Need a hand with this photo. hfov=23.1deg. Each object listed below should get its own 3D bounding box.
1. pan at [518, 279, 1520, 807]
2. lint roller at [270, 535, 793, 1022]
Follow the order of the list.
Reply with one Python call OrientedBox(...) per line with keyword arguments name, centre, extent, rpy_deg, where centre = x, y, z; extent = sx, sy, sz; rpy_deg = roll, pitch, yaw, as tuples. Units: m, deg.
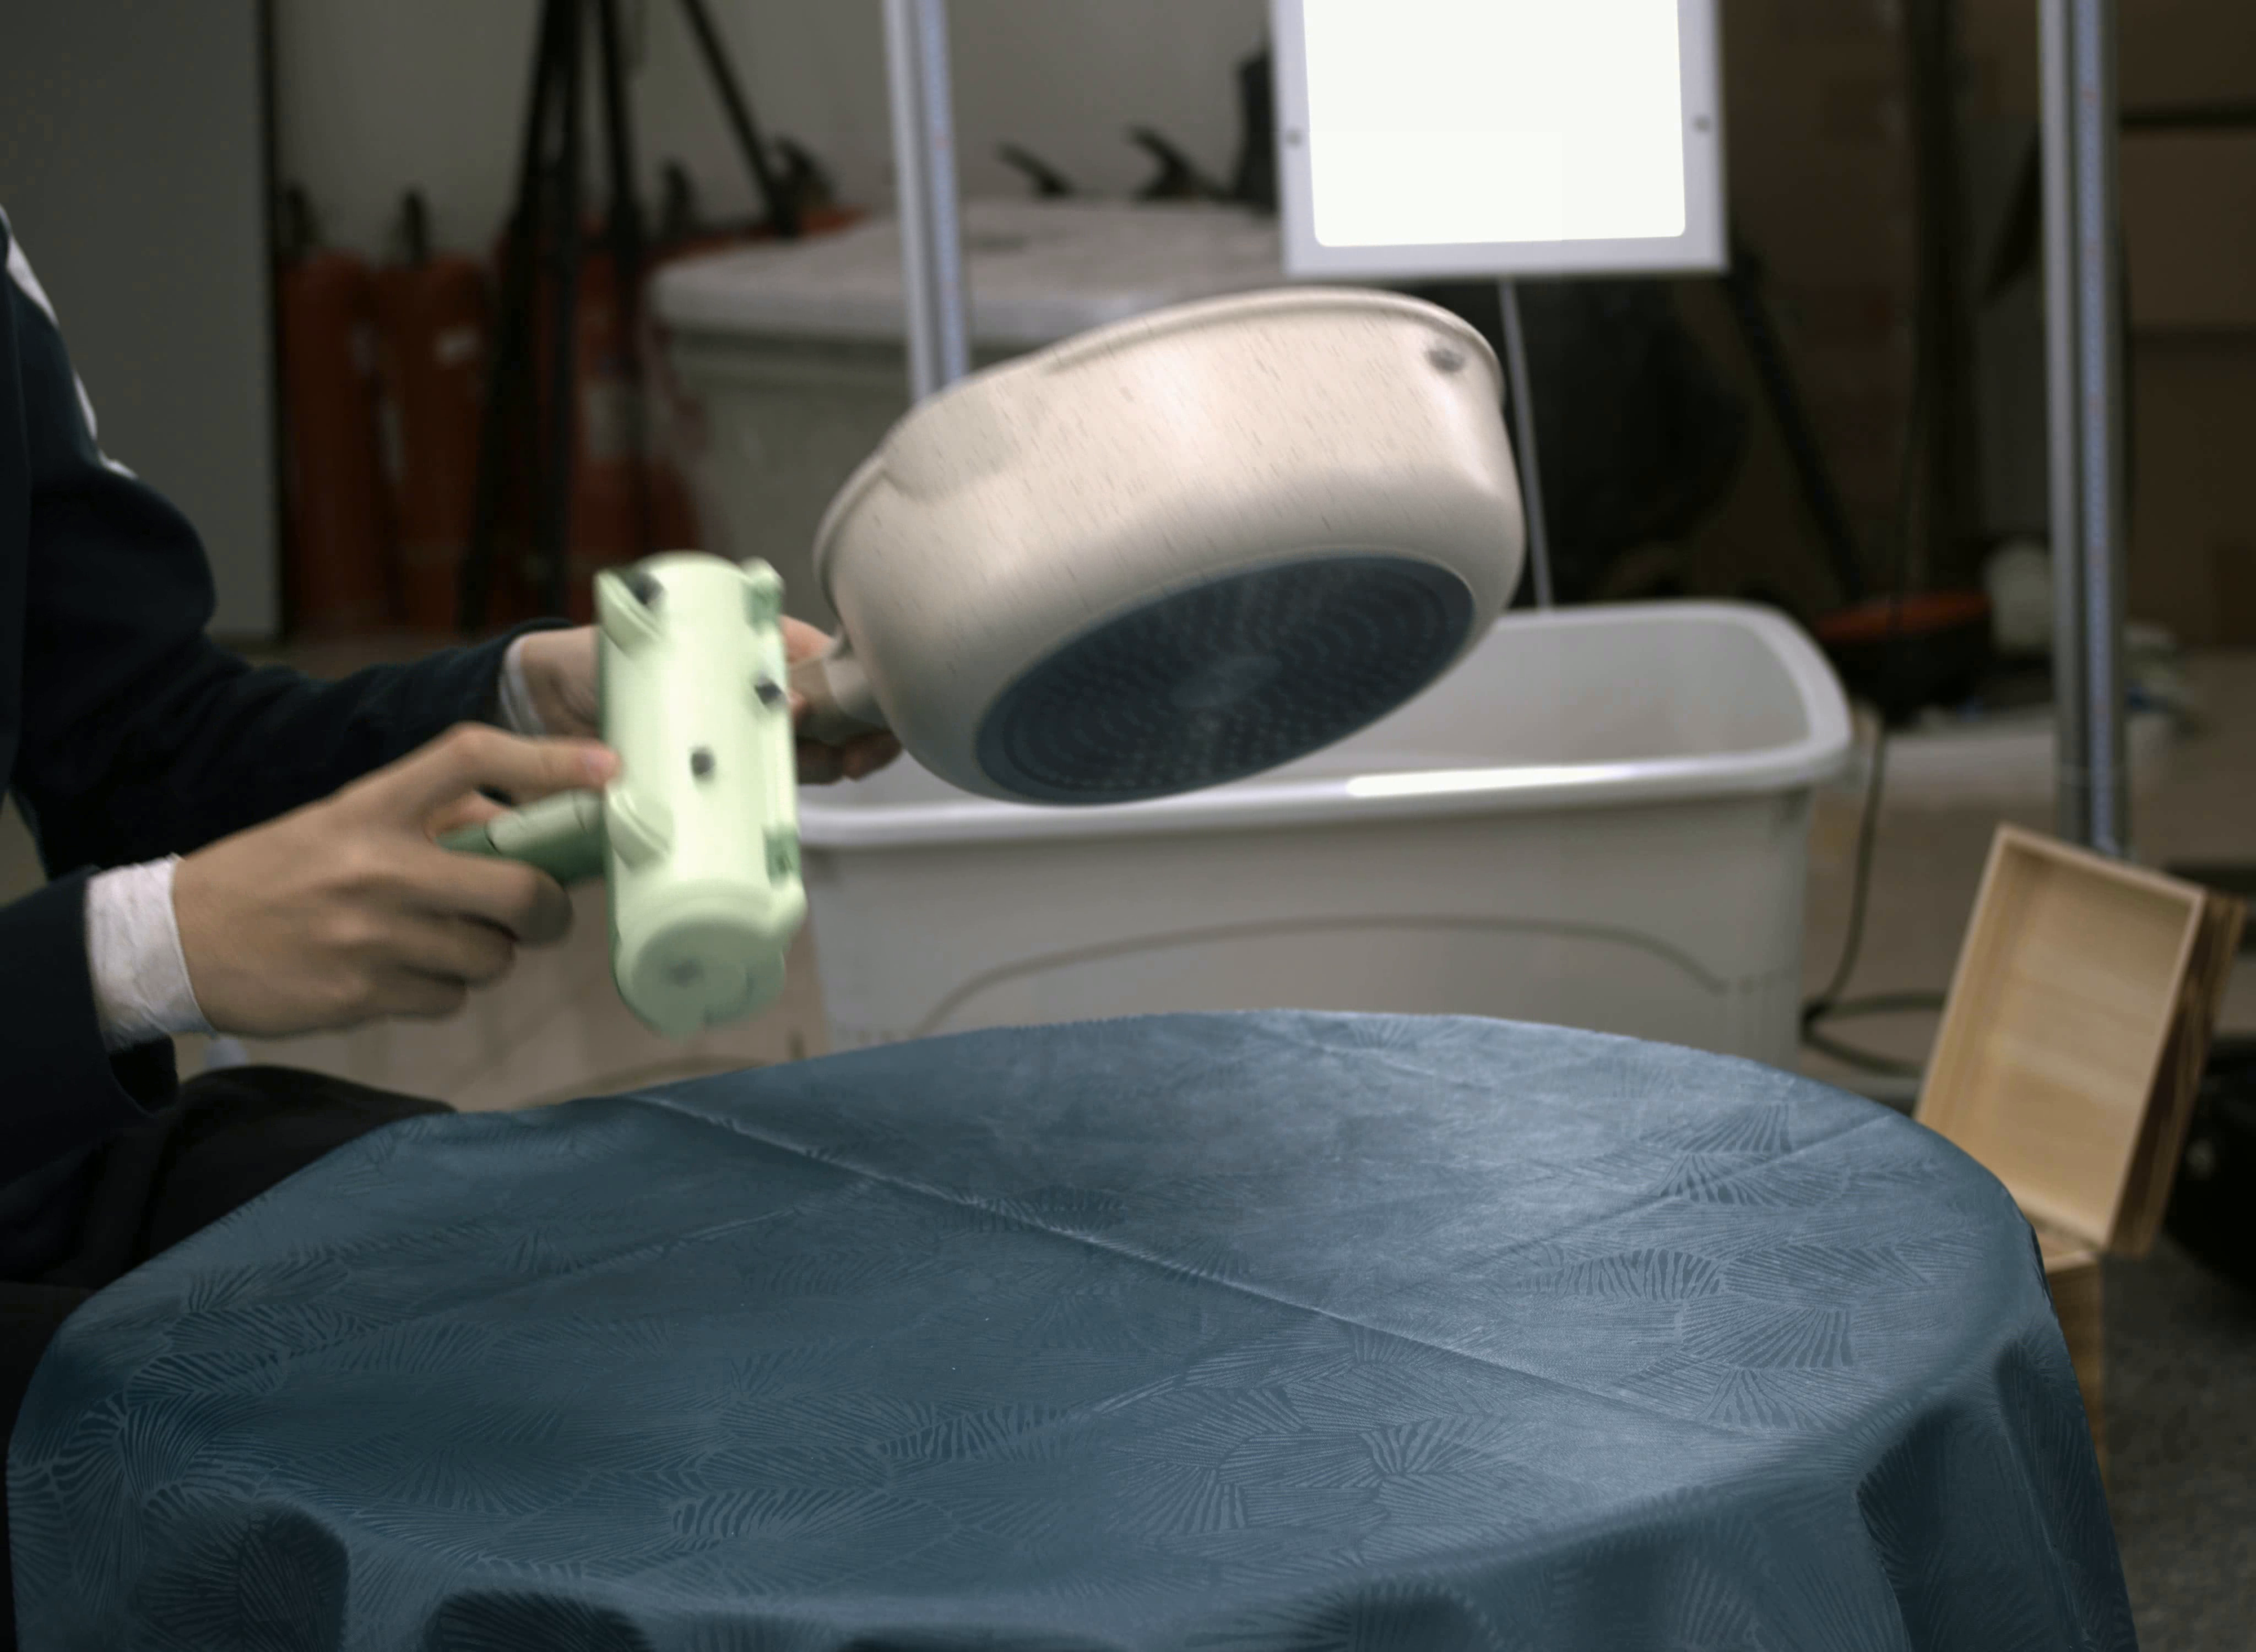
OrientedBox(name="pan", centre=(-0.053, -0.054, 1.960), extent=(0.443, 0.102, 0.257), rpy_deg=(-30, -24, 28))
OrientedBox(name="lint roller", centre=(-0.199, -0.008, 1.760), extent=(0.184, 0.082, 0.199), rpy_deg=(-18, 38, 6))
